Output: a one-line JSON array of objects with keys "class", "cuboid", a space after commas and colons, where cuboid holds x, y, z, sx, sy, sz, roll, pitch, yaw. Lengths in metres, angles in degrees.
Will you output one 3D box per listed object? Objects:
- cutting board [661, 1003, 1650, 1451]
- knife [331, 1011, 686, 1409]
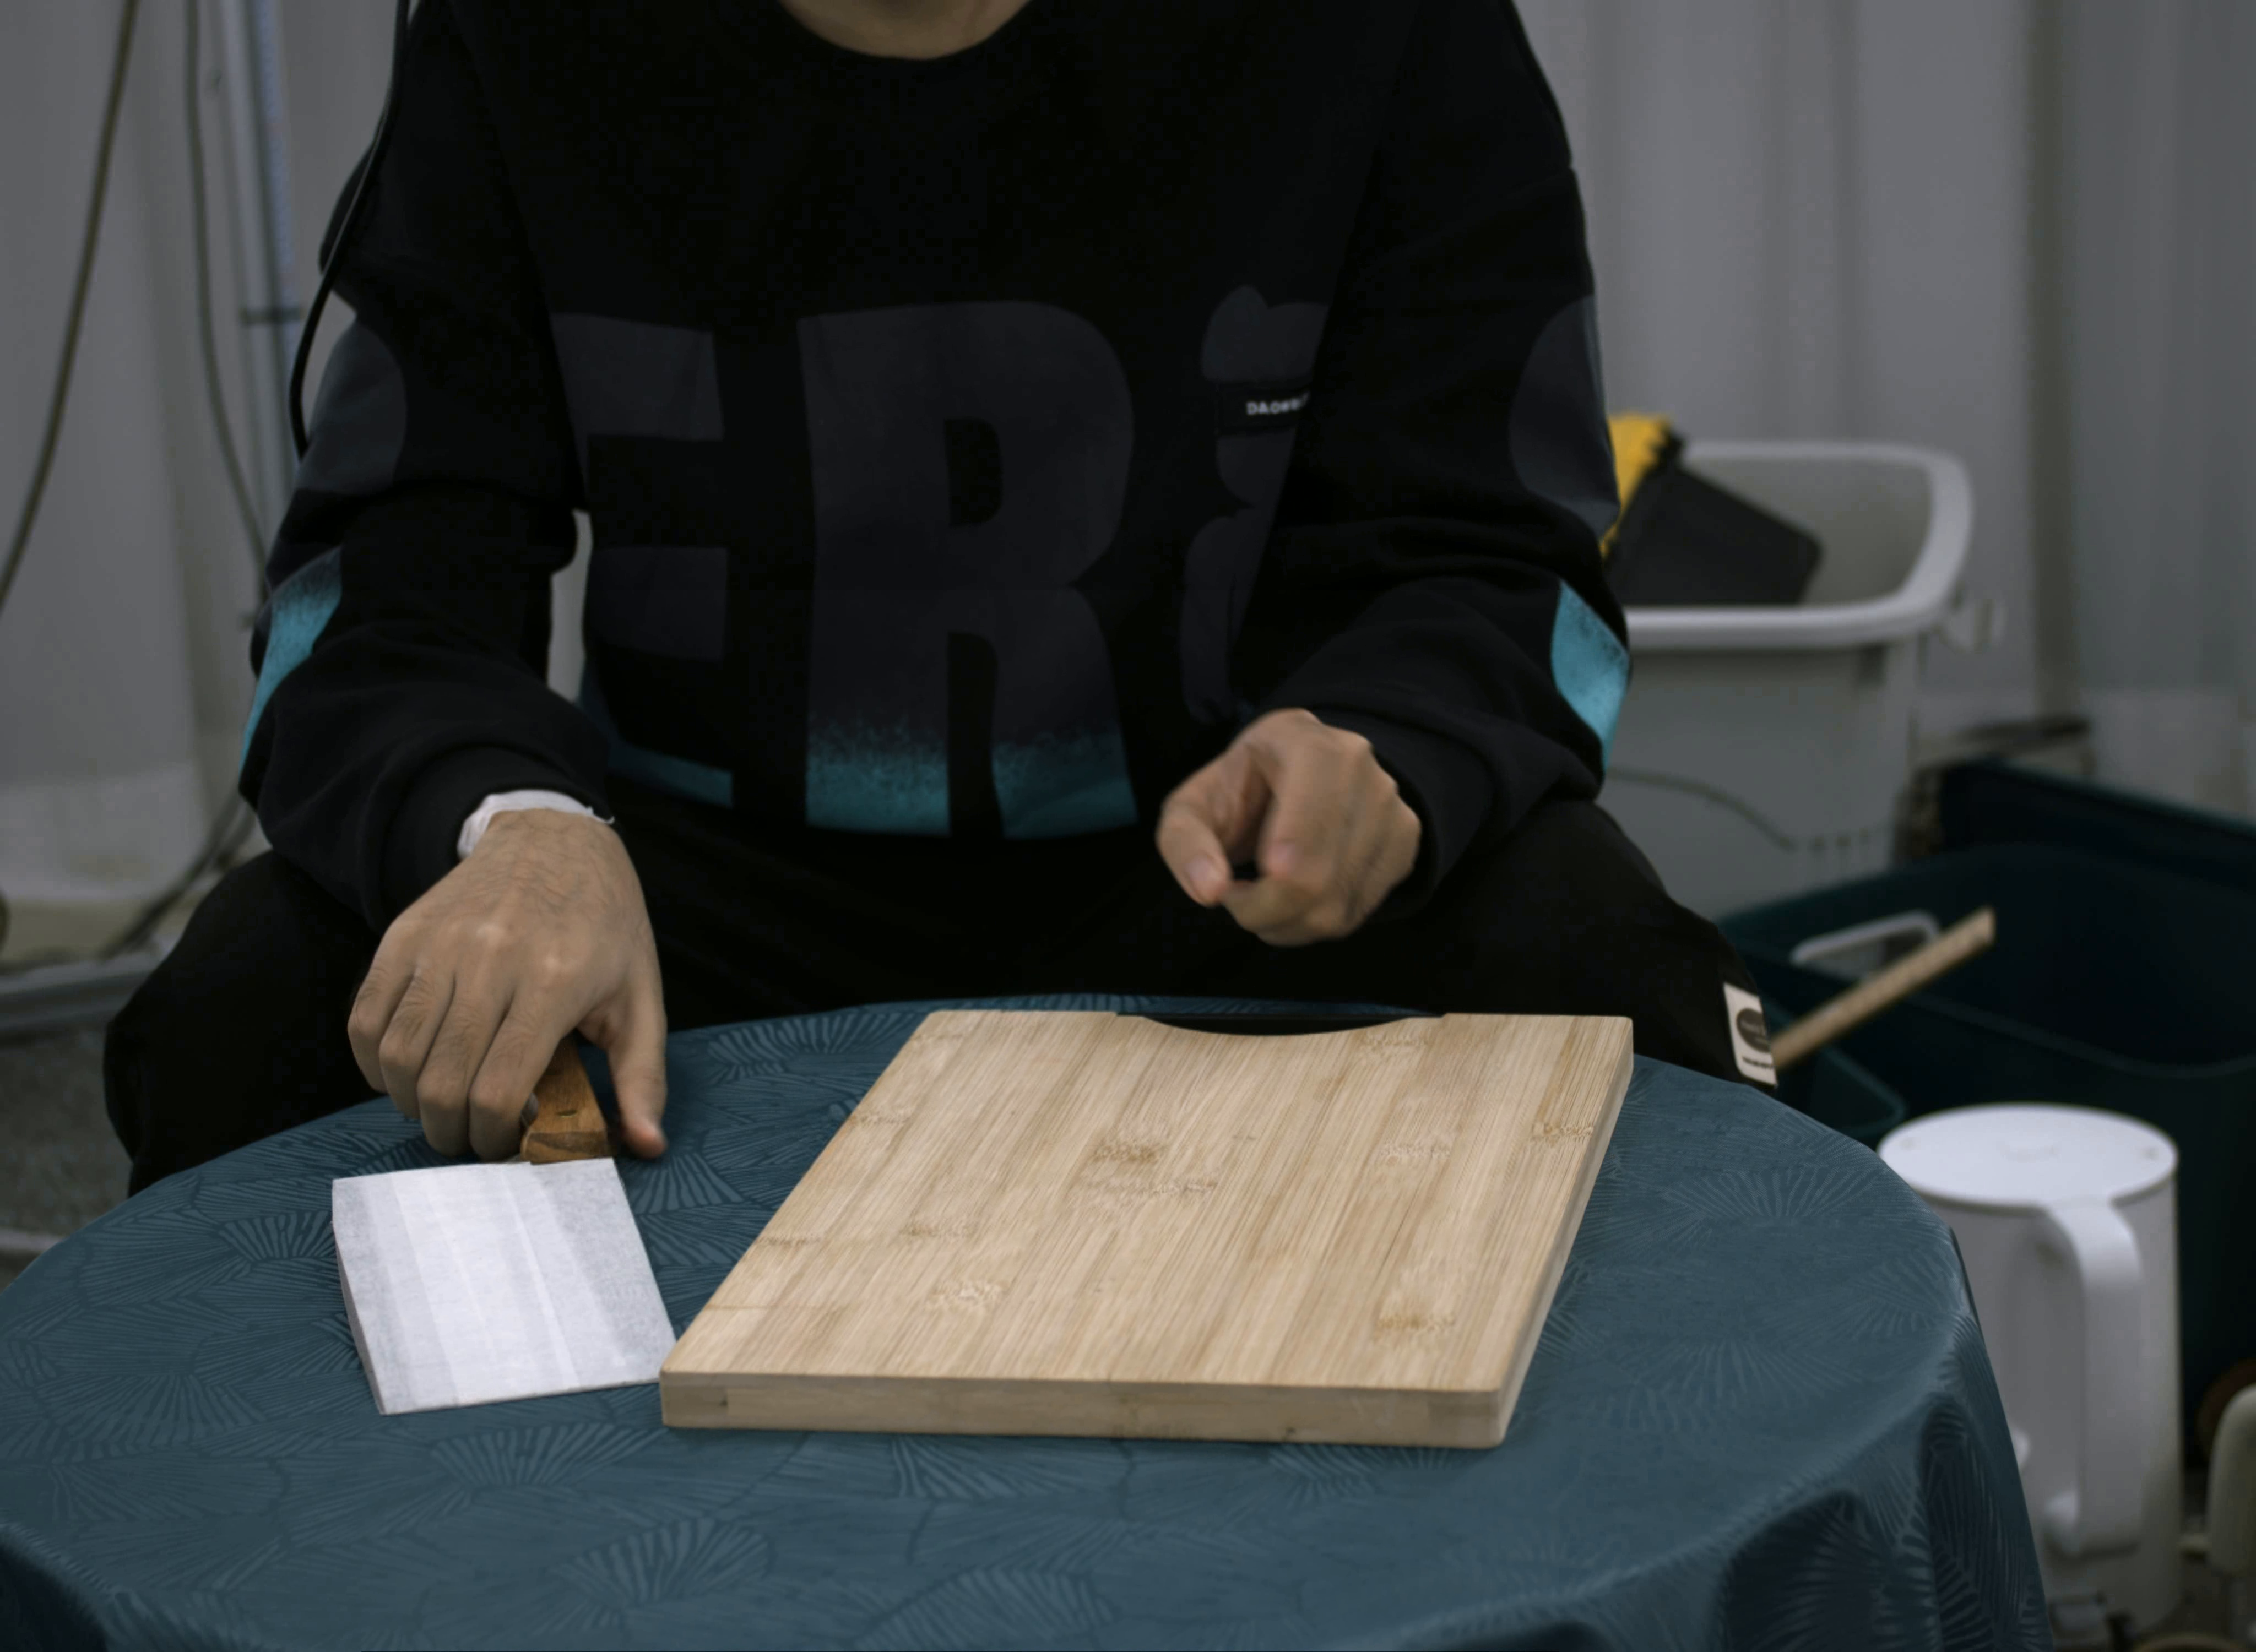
[{"class": "cutting board", "cuboid": [0.020, 0.116, 1.675, 0.250, 0.023, 0.350, 0, 16, 11]}, {"class": "knife", "cuboid": [-0.200, 0.119, 1.707, 0.092, 0.021, 0.308, -6, 18, -11]}]
